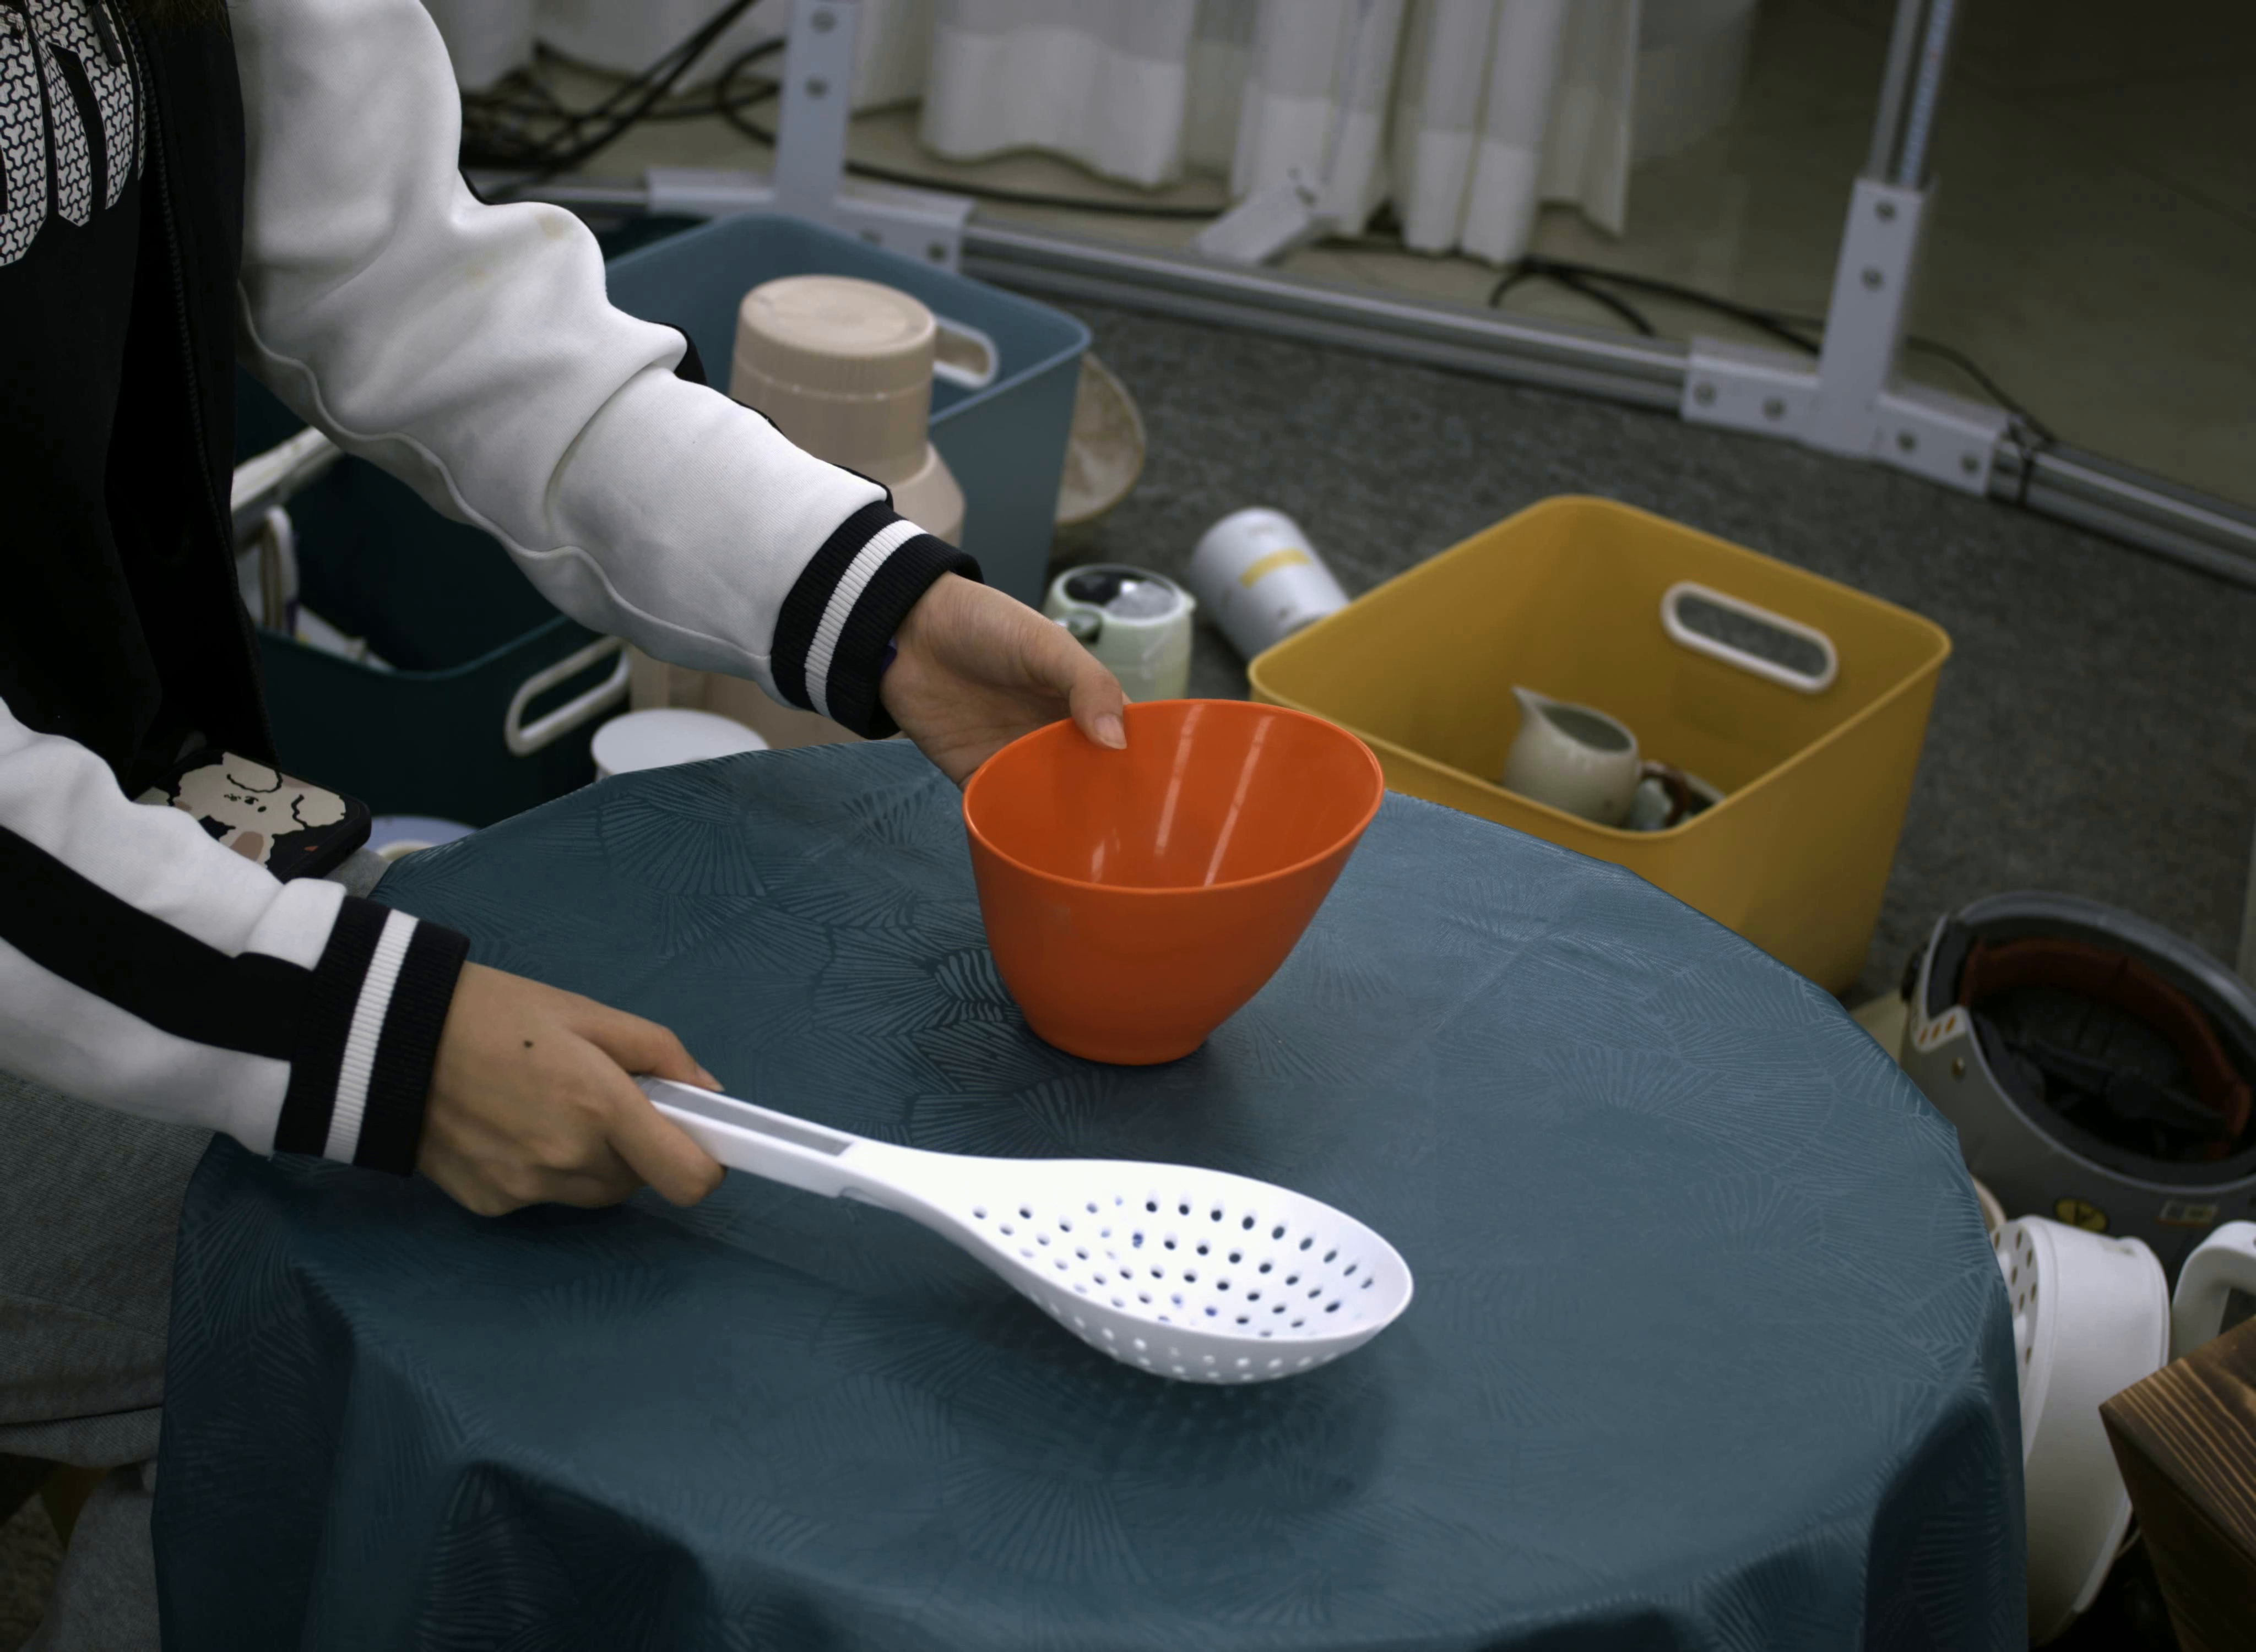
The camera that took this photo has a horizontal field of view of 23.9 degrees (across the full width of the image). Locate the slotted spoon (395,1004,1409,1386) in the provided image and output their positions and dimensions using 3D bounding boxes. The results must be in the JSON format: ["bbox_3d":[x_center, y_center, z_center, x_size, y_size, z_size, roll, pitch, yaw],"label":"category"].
[{"bbox_3d":[-0.078,0.114,1.727,0.350,0.045,0.136,20,19,14],"label":"slotted spoon"}]

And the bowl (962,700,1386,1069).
[{"bbox_3d":[0.012,0.026,1.884,0.147,0.104,0.149,5,27,-3],"label":"bowl"}]
